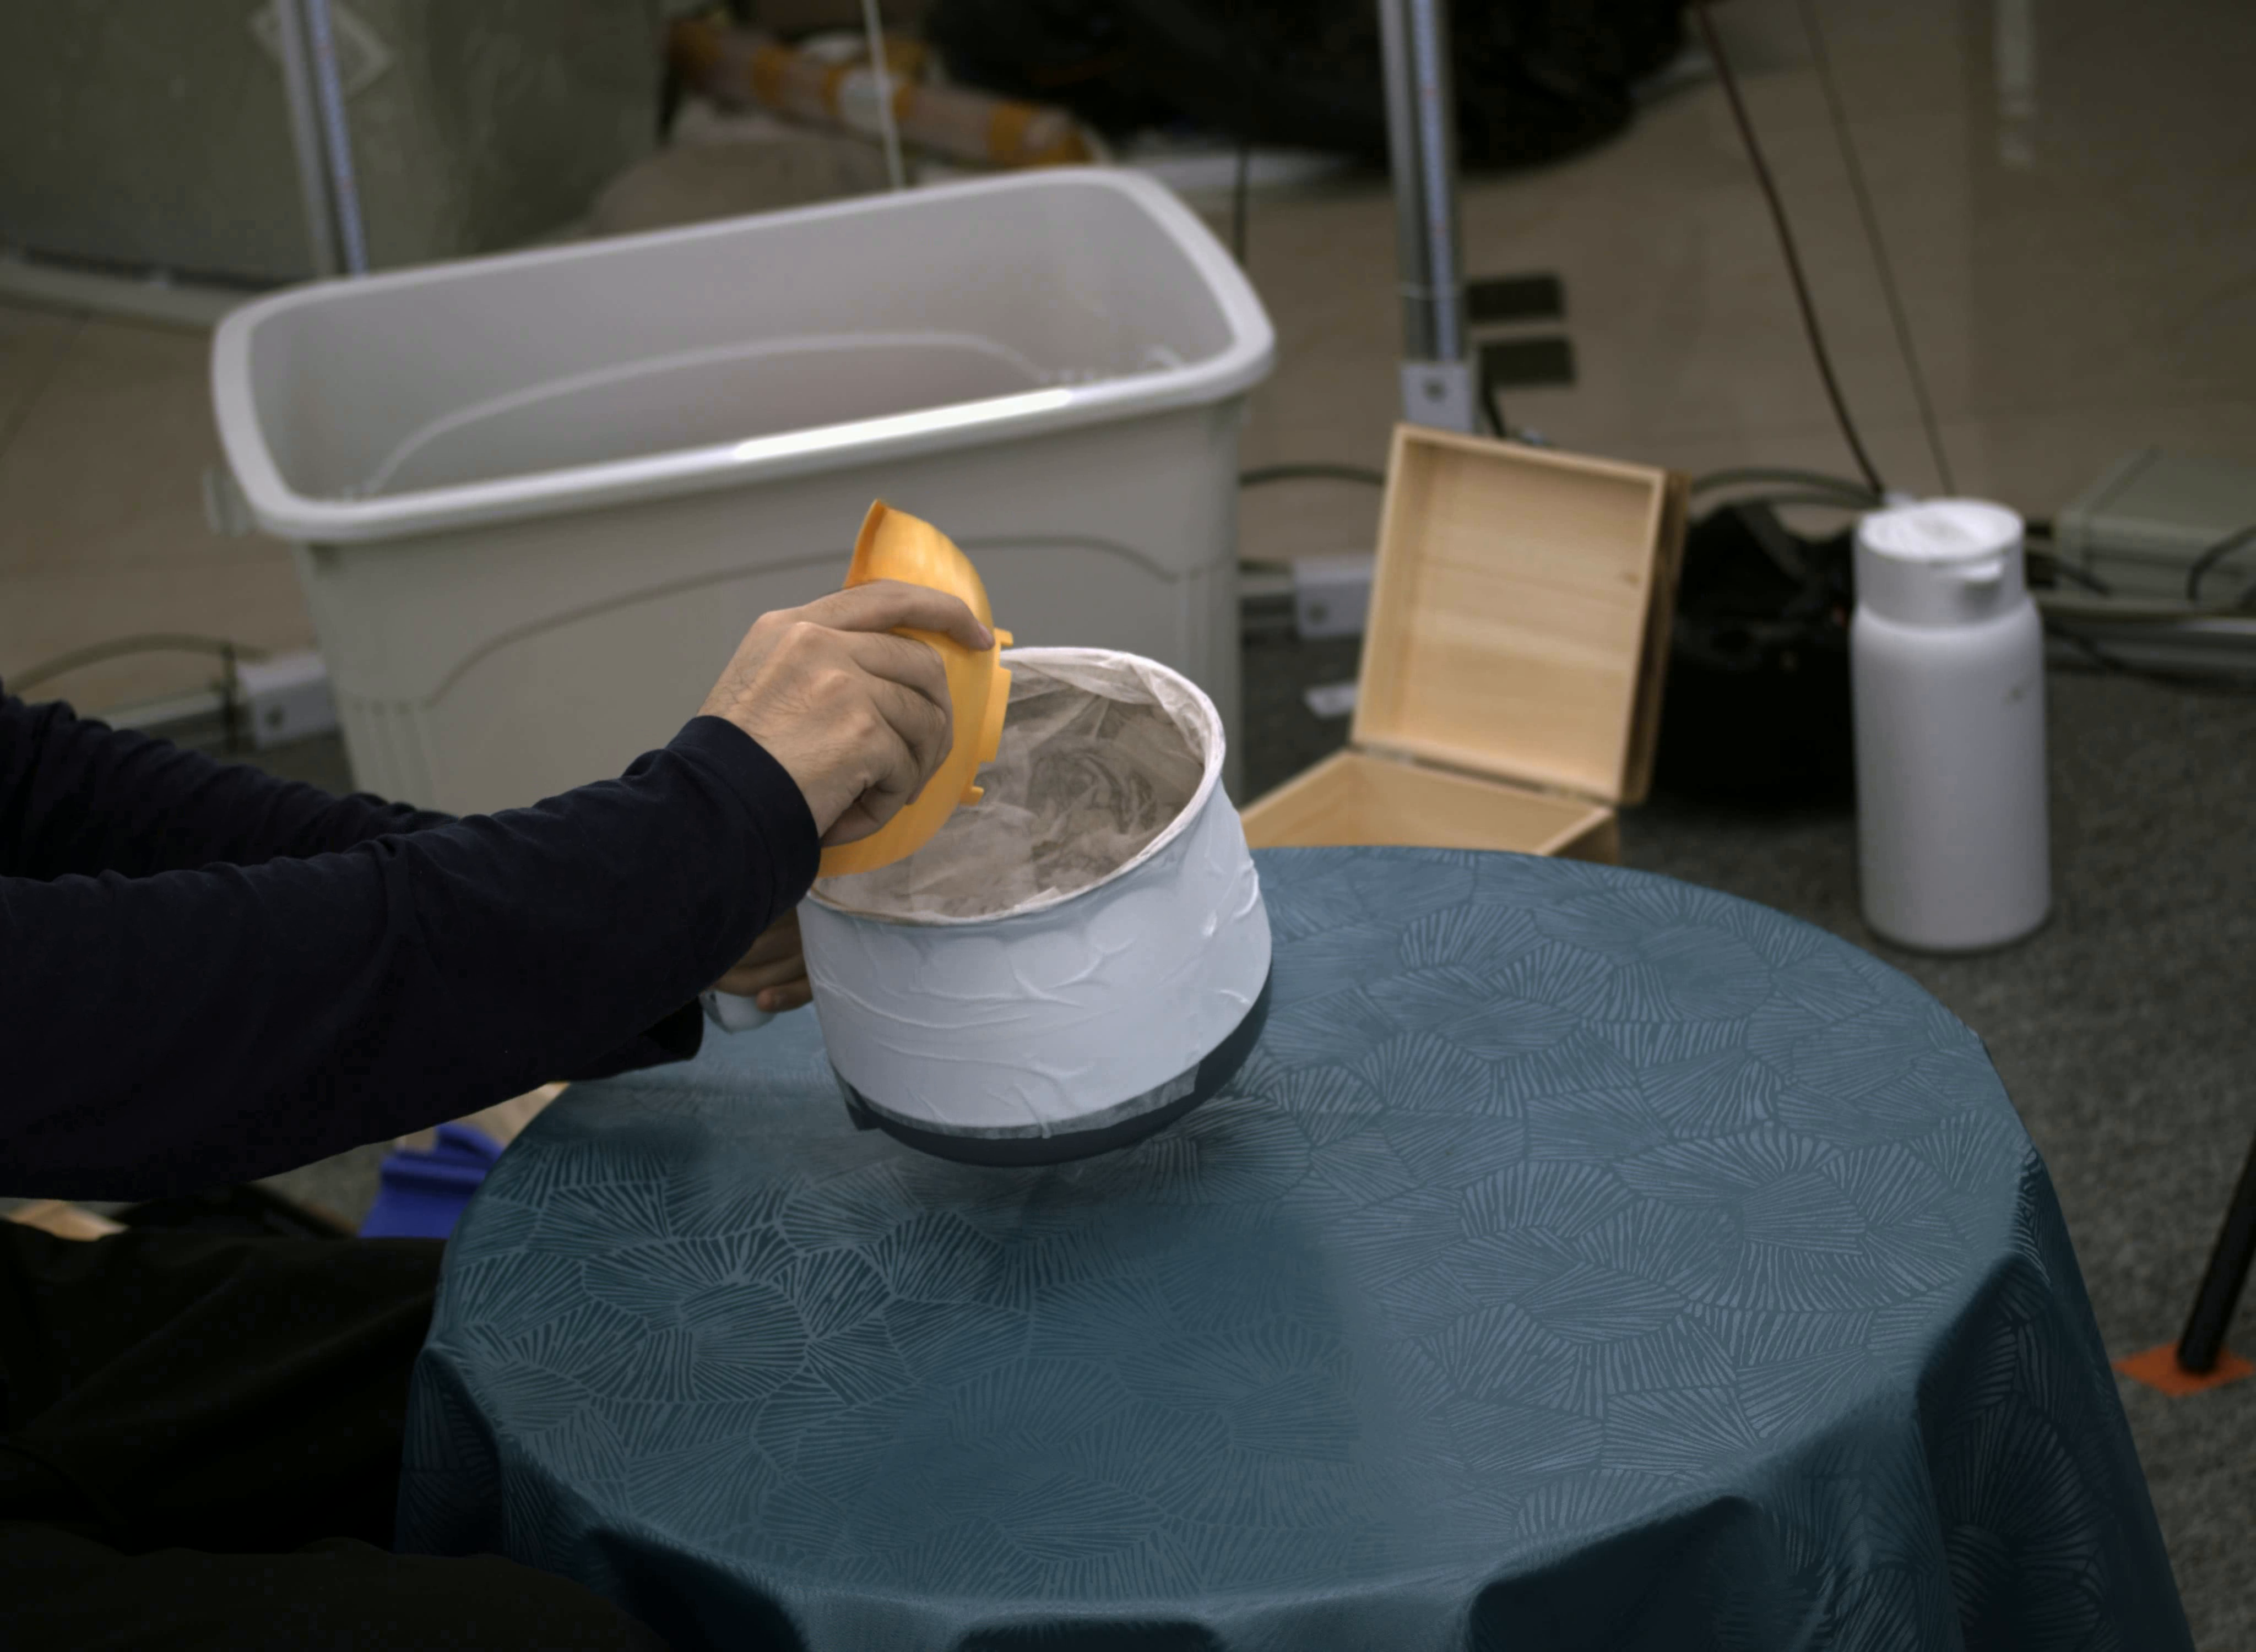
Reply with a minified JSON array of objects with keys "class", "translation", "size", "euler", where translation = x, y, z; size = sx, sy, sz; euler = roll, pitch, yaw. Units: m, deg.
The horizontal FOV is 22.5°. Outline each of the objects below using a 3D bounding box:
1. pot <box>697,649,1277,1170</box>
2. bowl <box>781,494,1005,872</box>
[{"class":"pot","translation":[-0.063,0.036,2.171],"size":[0.233,0.139,0.176],"euler":[-1,37,21]},{"class":"bowl","translation":[-0.082,-0.046,2.095],"size":[0.060,0.147,0.143],"euler":[15,25,-6]}]
